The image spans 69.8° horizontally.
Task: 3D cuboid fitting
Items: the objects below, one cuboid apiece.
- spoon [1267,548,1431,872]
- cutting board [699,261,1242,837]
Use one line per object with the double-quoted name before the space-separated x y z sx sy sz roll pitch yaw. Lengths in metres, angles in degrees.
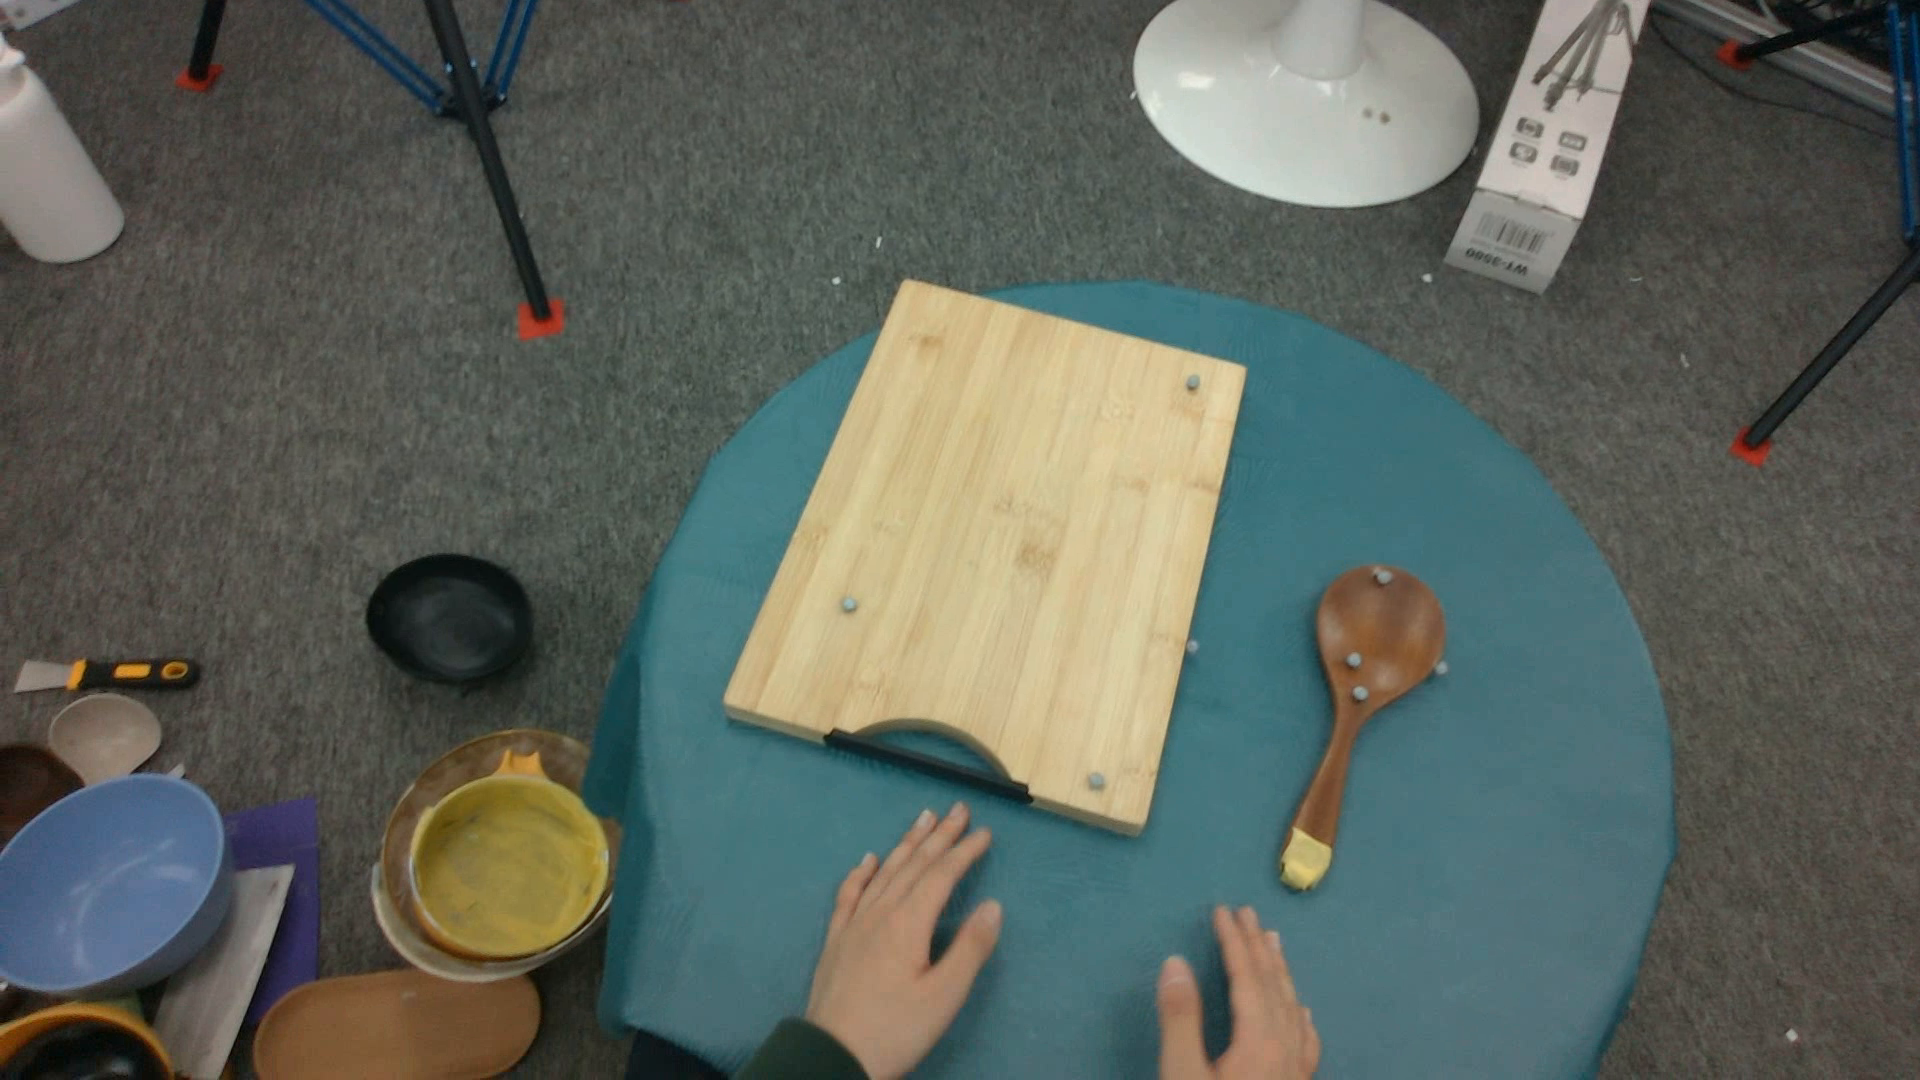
"spoon" 0.215 0.092 0.784 0.075 0.017 0.217 24 58 8
"cutting board" 0.022 -0.013 0.835 0.250 0.023 0.350 15 57 5
